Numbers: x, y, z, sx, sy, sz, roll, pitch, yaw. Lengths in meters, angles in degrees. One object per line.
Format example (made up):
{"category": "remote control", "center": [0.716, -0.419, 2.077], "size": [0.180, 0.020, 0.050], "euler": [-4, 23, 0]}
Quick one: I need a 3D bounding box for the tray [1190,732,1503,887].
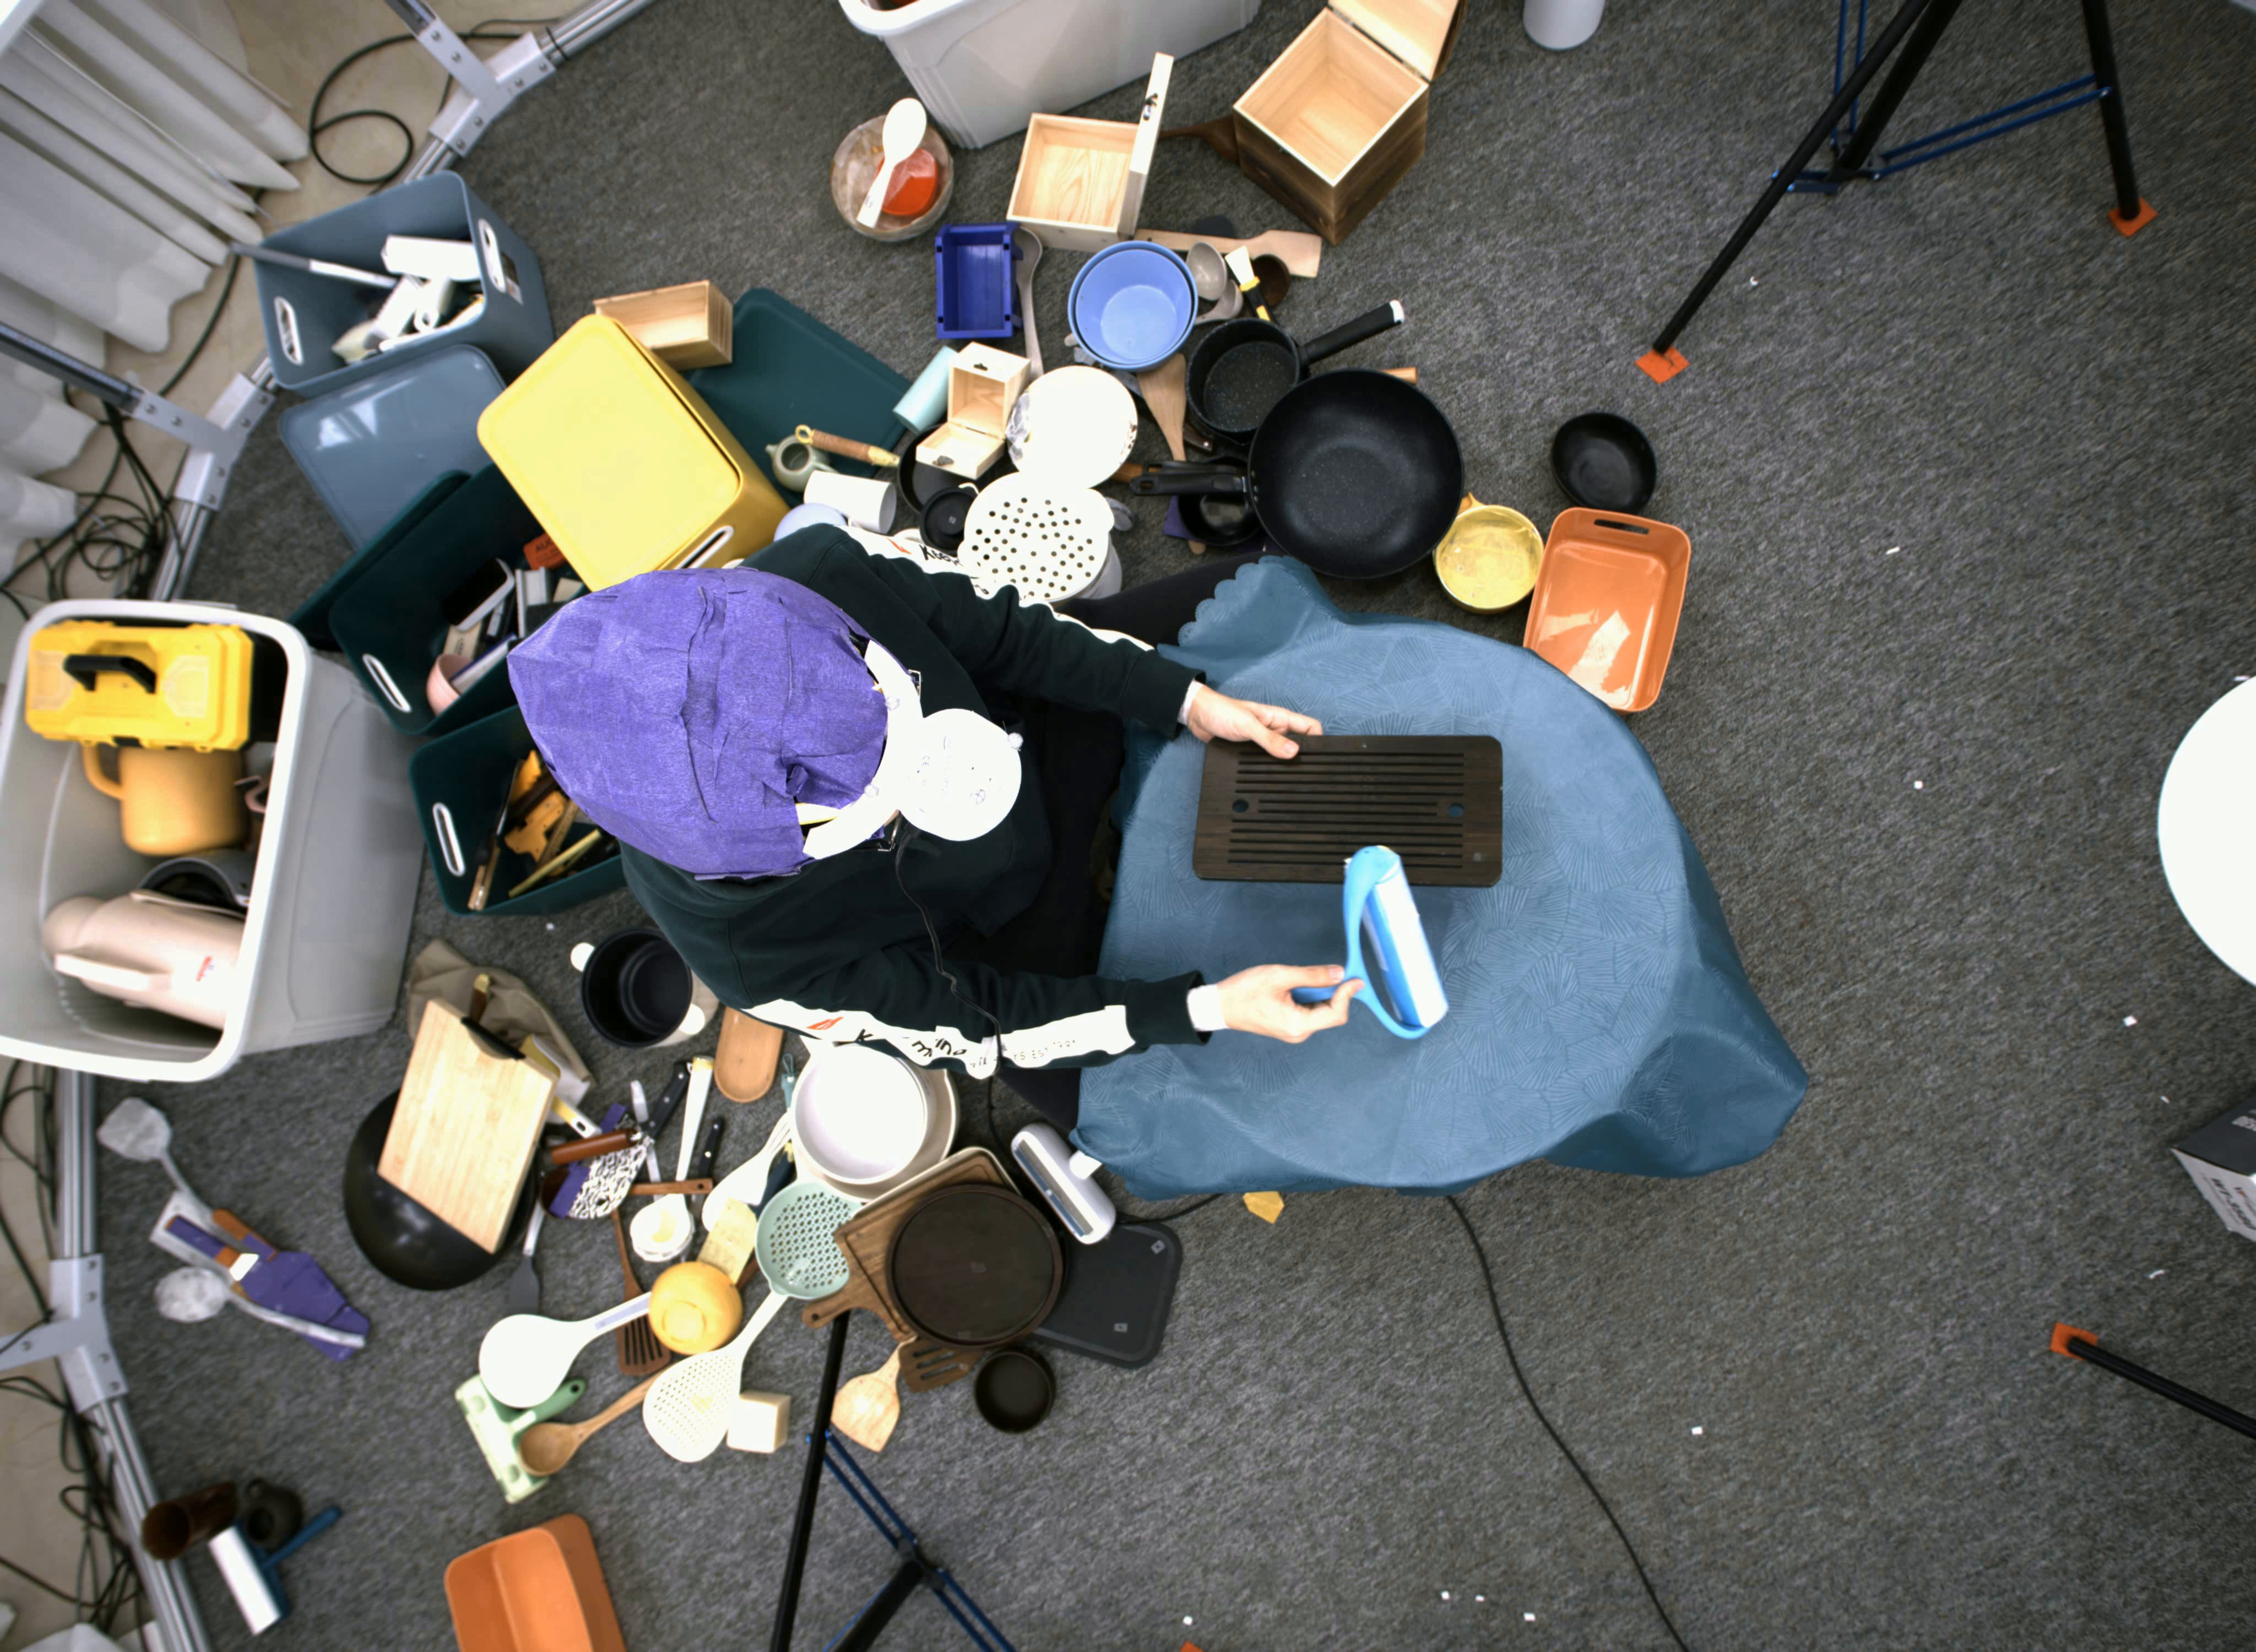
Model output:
{"category": "tray", "center": [0.220, -0.019, 1.389], "size": [0.307, 0.019, 0.166], "euler": [1, 64, 14]}

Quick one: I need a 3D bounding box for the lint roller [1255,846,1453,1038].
{"category": "lint roller", "center": [0.215, 0.138, 1.347], "size": [0.181, 0.066, 0.233], "euler": [-27, 125, 3]}
